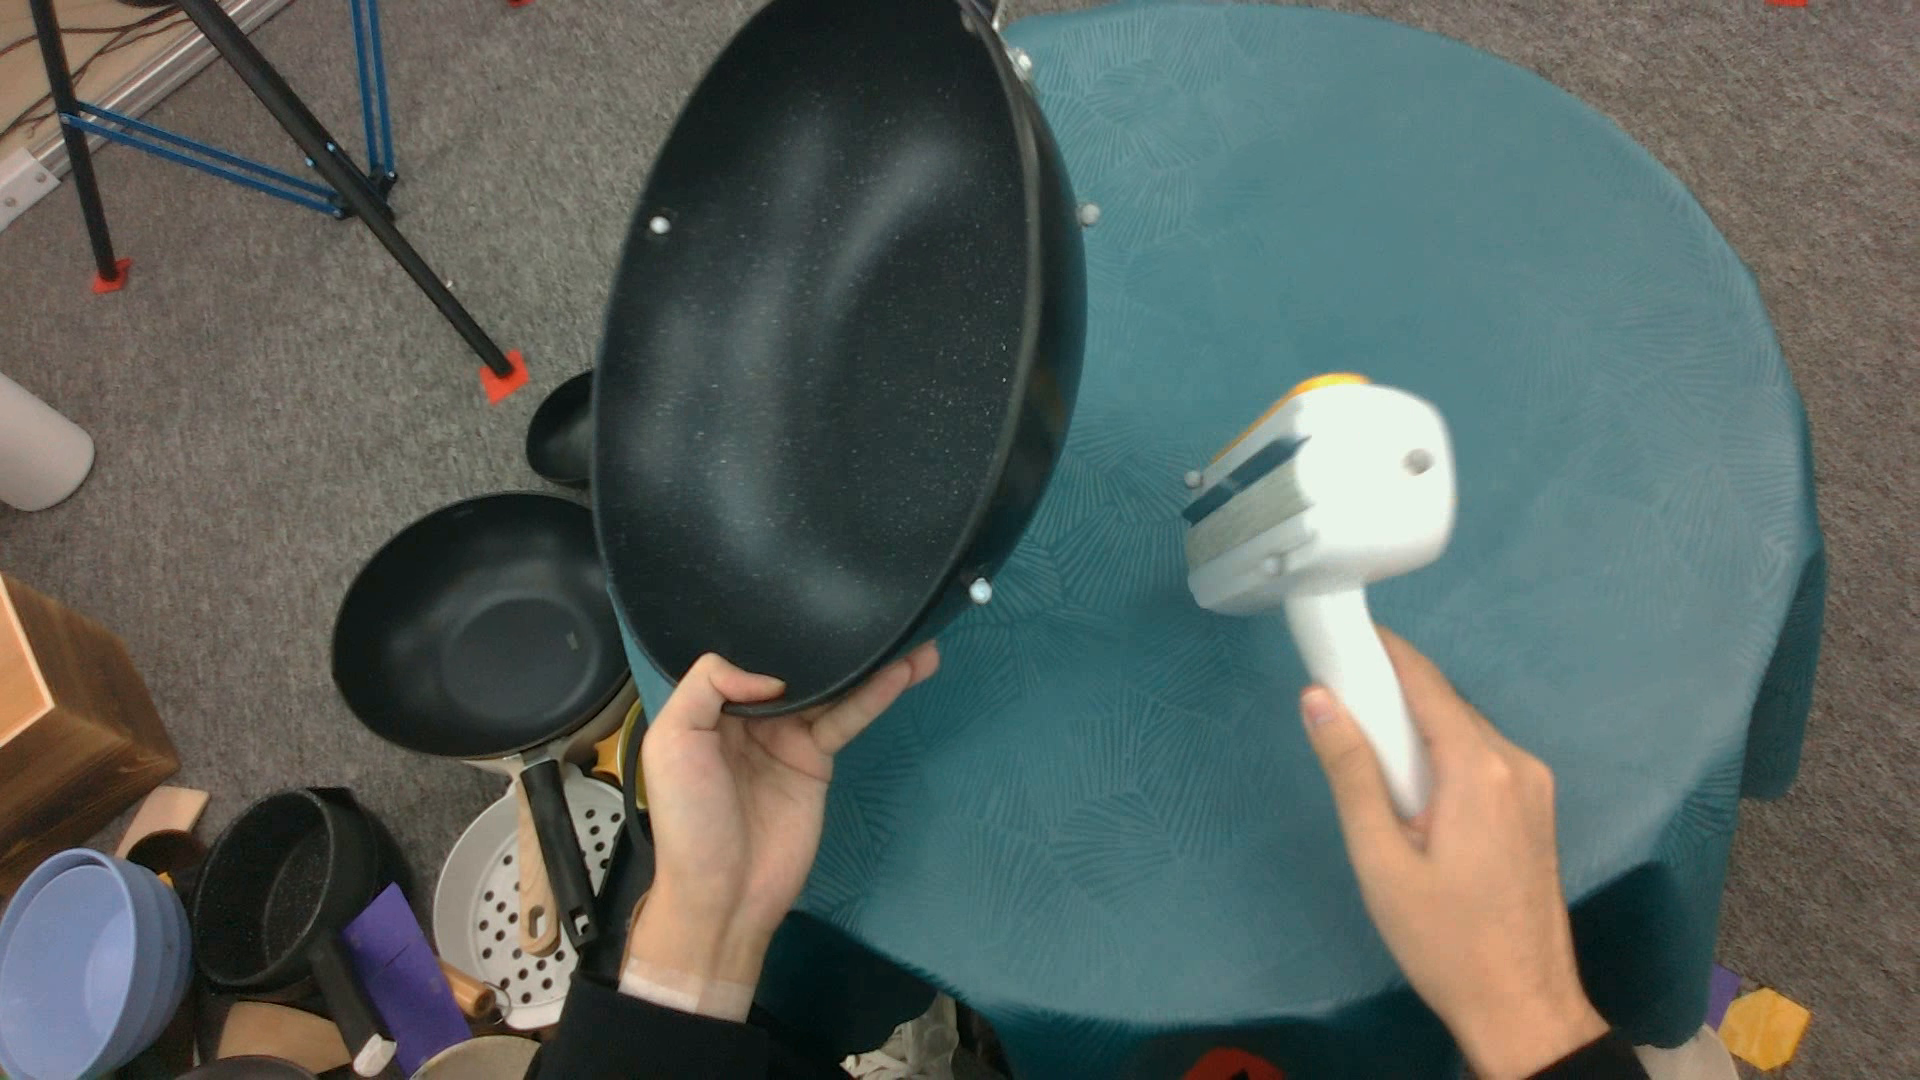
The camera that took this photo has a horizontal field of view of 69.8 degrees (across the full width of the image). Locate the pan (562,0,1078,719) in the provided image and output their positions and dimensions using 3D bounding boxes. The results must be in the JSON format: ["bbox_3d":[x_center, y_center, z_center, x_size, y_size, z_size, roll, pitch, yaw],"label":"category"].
[{"bbox_3d":[-0.020,-0.141,0.552,0.475,0.112,0.311,-55,51,25],"label":"pan"}]

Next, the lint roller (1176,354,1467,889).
[{"bbox_3d":[0.142,0.038,0.523,0.074,0.192,0.192,-6,85,-11],"label":"lint roller"}]
